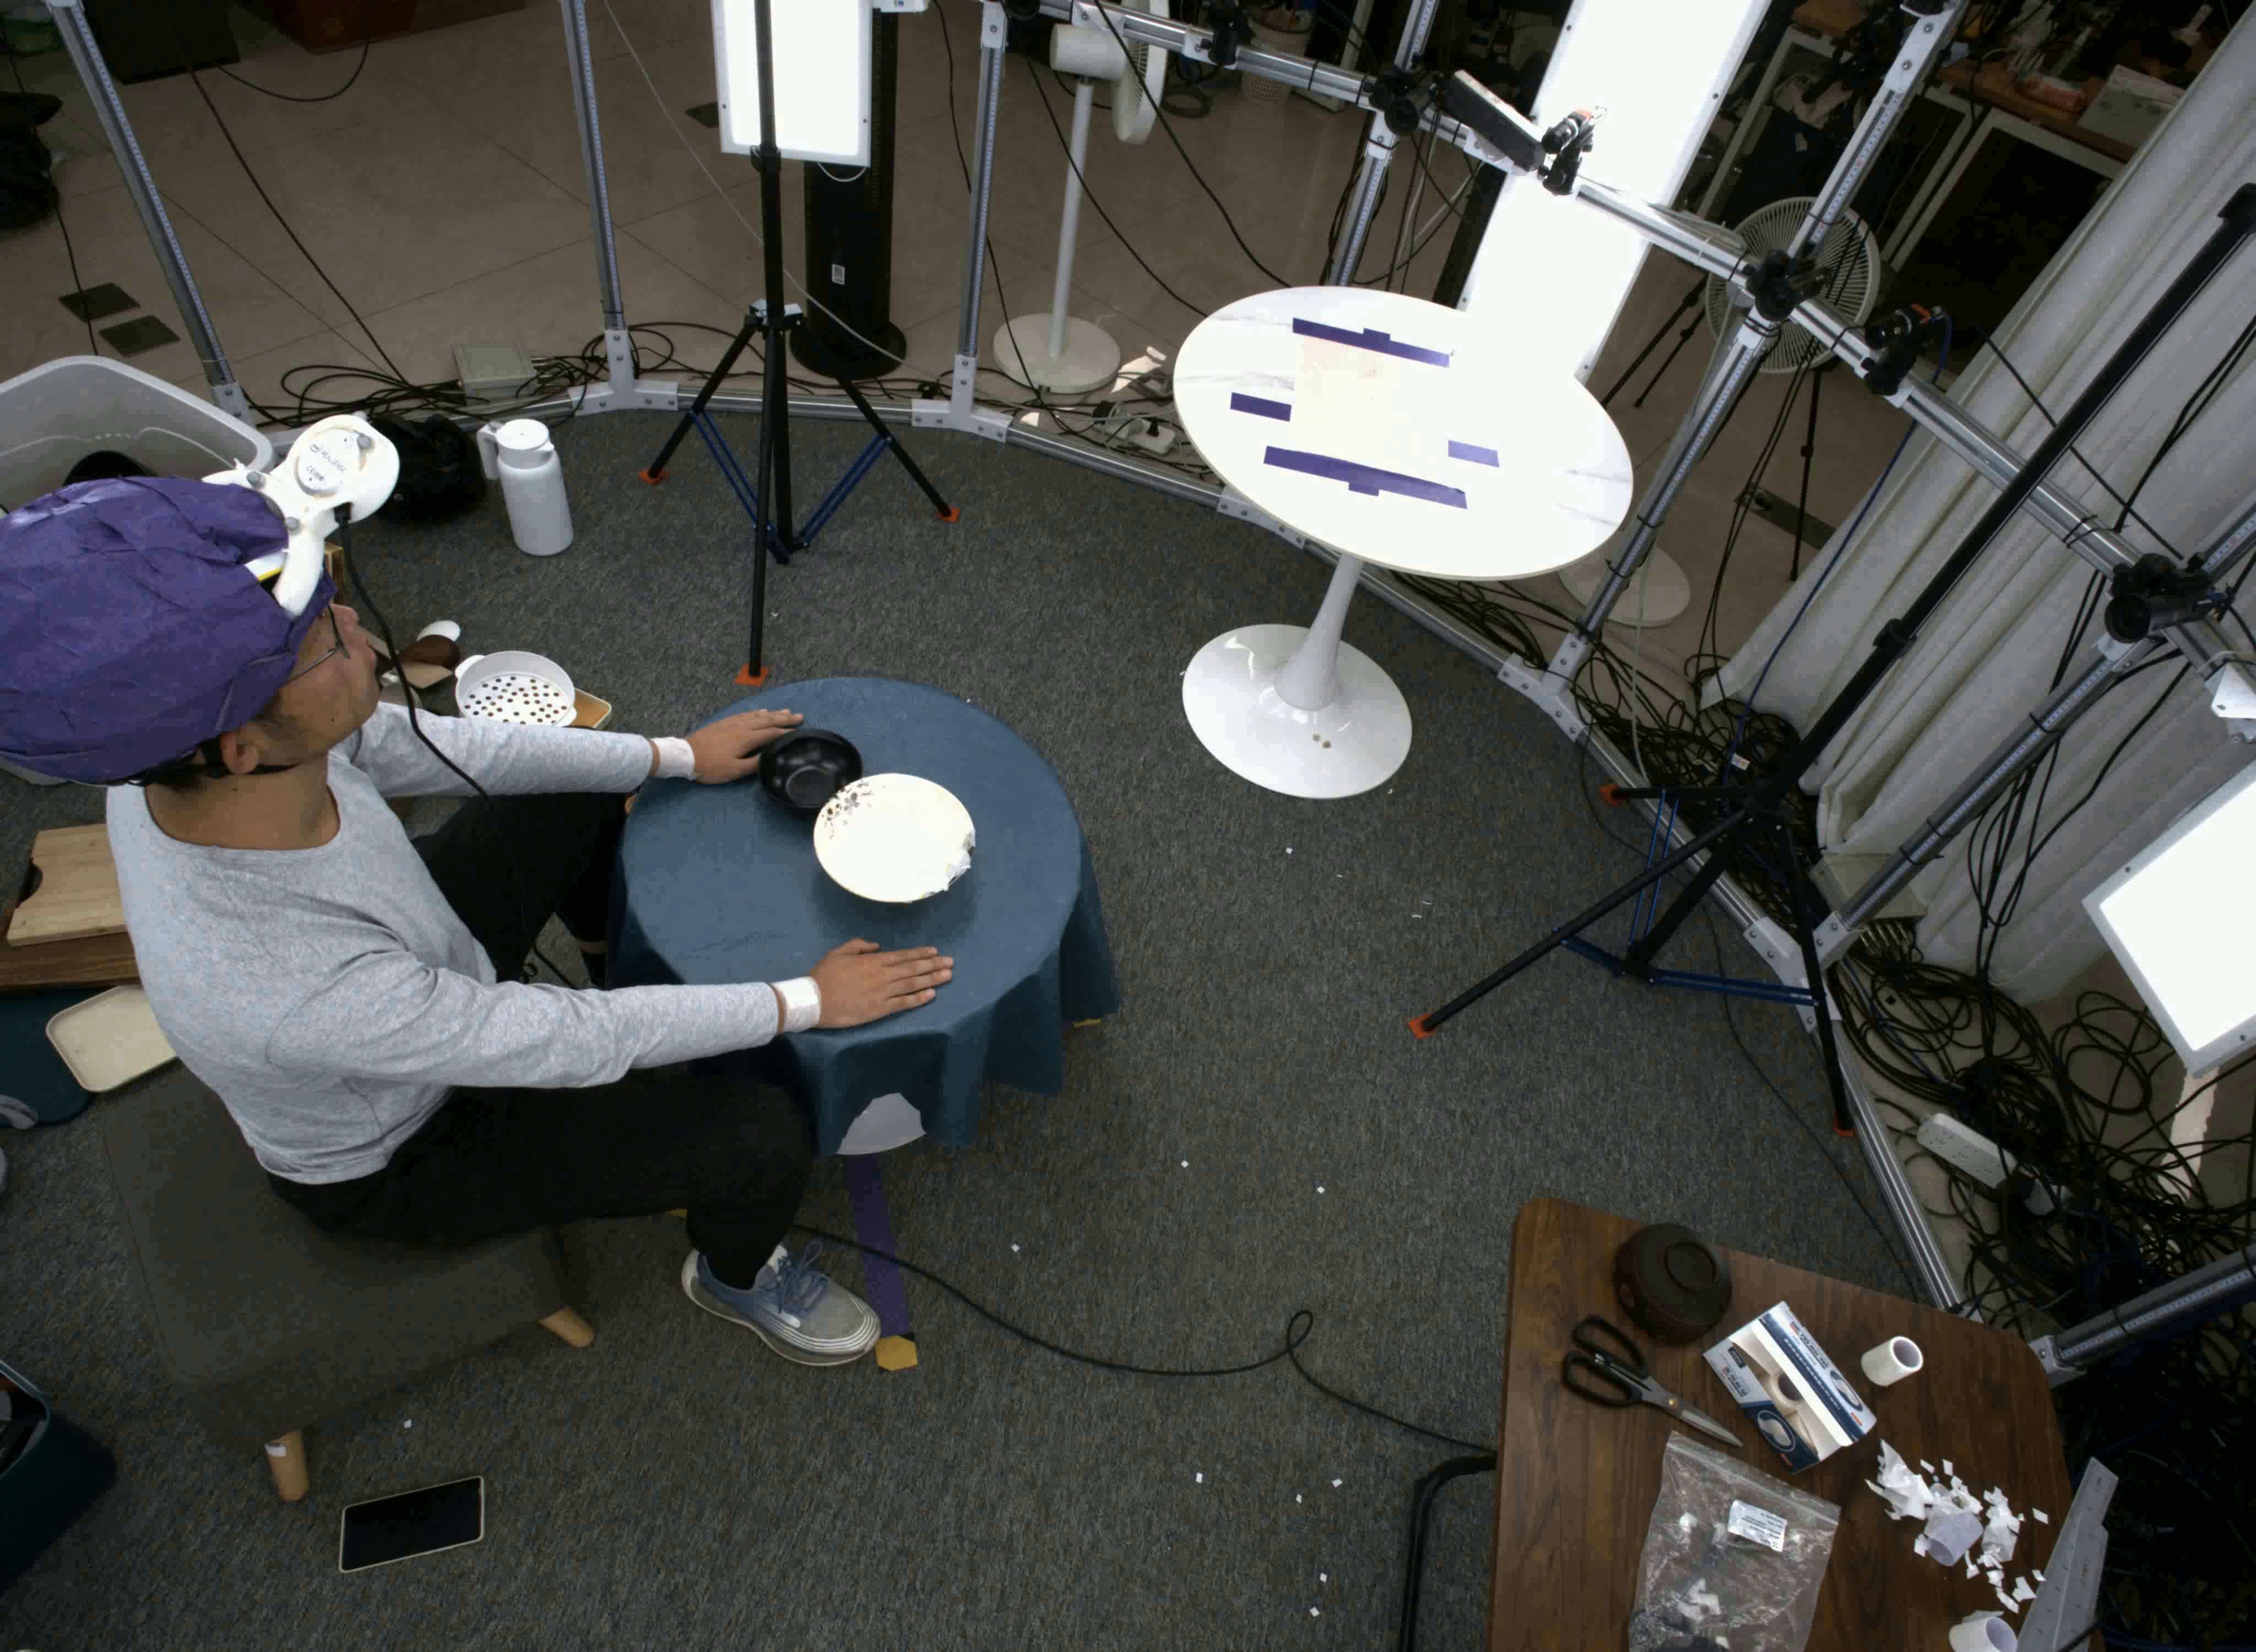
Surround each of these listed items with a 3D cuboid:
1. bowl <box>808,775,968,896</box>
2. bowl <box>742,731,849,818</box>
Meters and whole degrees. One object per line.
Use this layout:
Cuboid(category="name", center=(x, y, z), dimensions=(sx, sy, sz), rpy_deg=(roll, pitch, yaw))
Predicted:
Cuboid(category="bowl", center=(-0.311, 0.031, 1.675), dimensions=(0.204, 0.079, 0.200), rpy_deg=(12, 45, -11))
Cuboid(category="bowl", center=(-0.446, -0.062, 1.744), dimensions=(0.139, 0.051, 0.137), rpy_deg=(6, 52, -6))
